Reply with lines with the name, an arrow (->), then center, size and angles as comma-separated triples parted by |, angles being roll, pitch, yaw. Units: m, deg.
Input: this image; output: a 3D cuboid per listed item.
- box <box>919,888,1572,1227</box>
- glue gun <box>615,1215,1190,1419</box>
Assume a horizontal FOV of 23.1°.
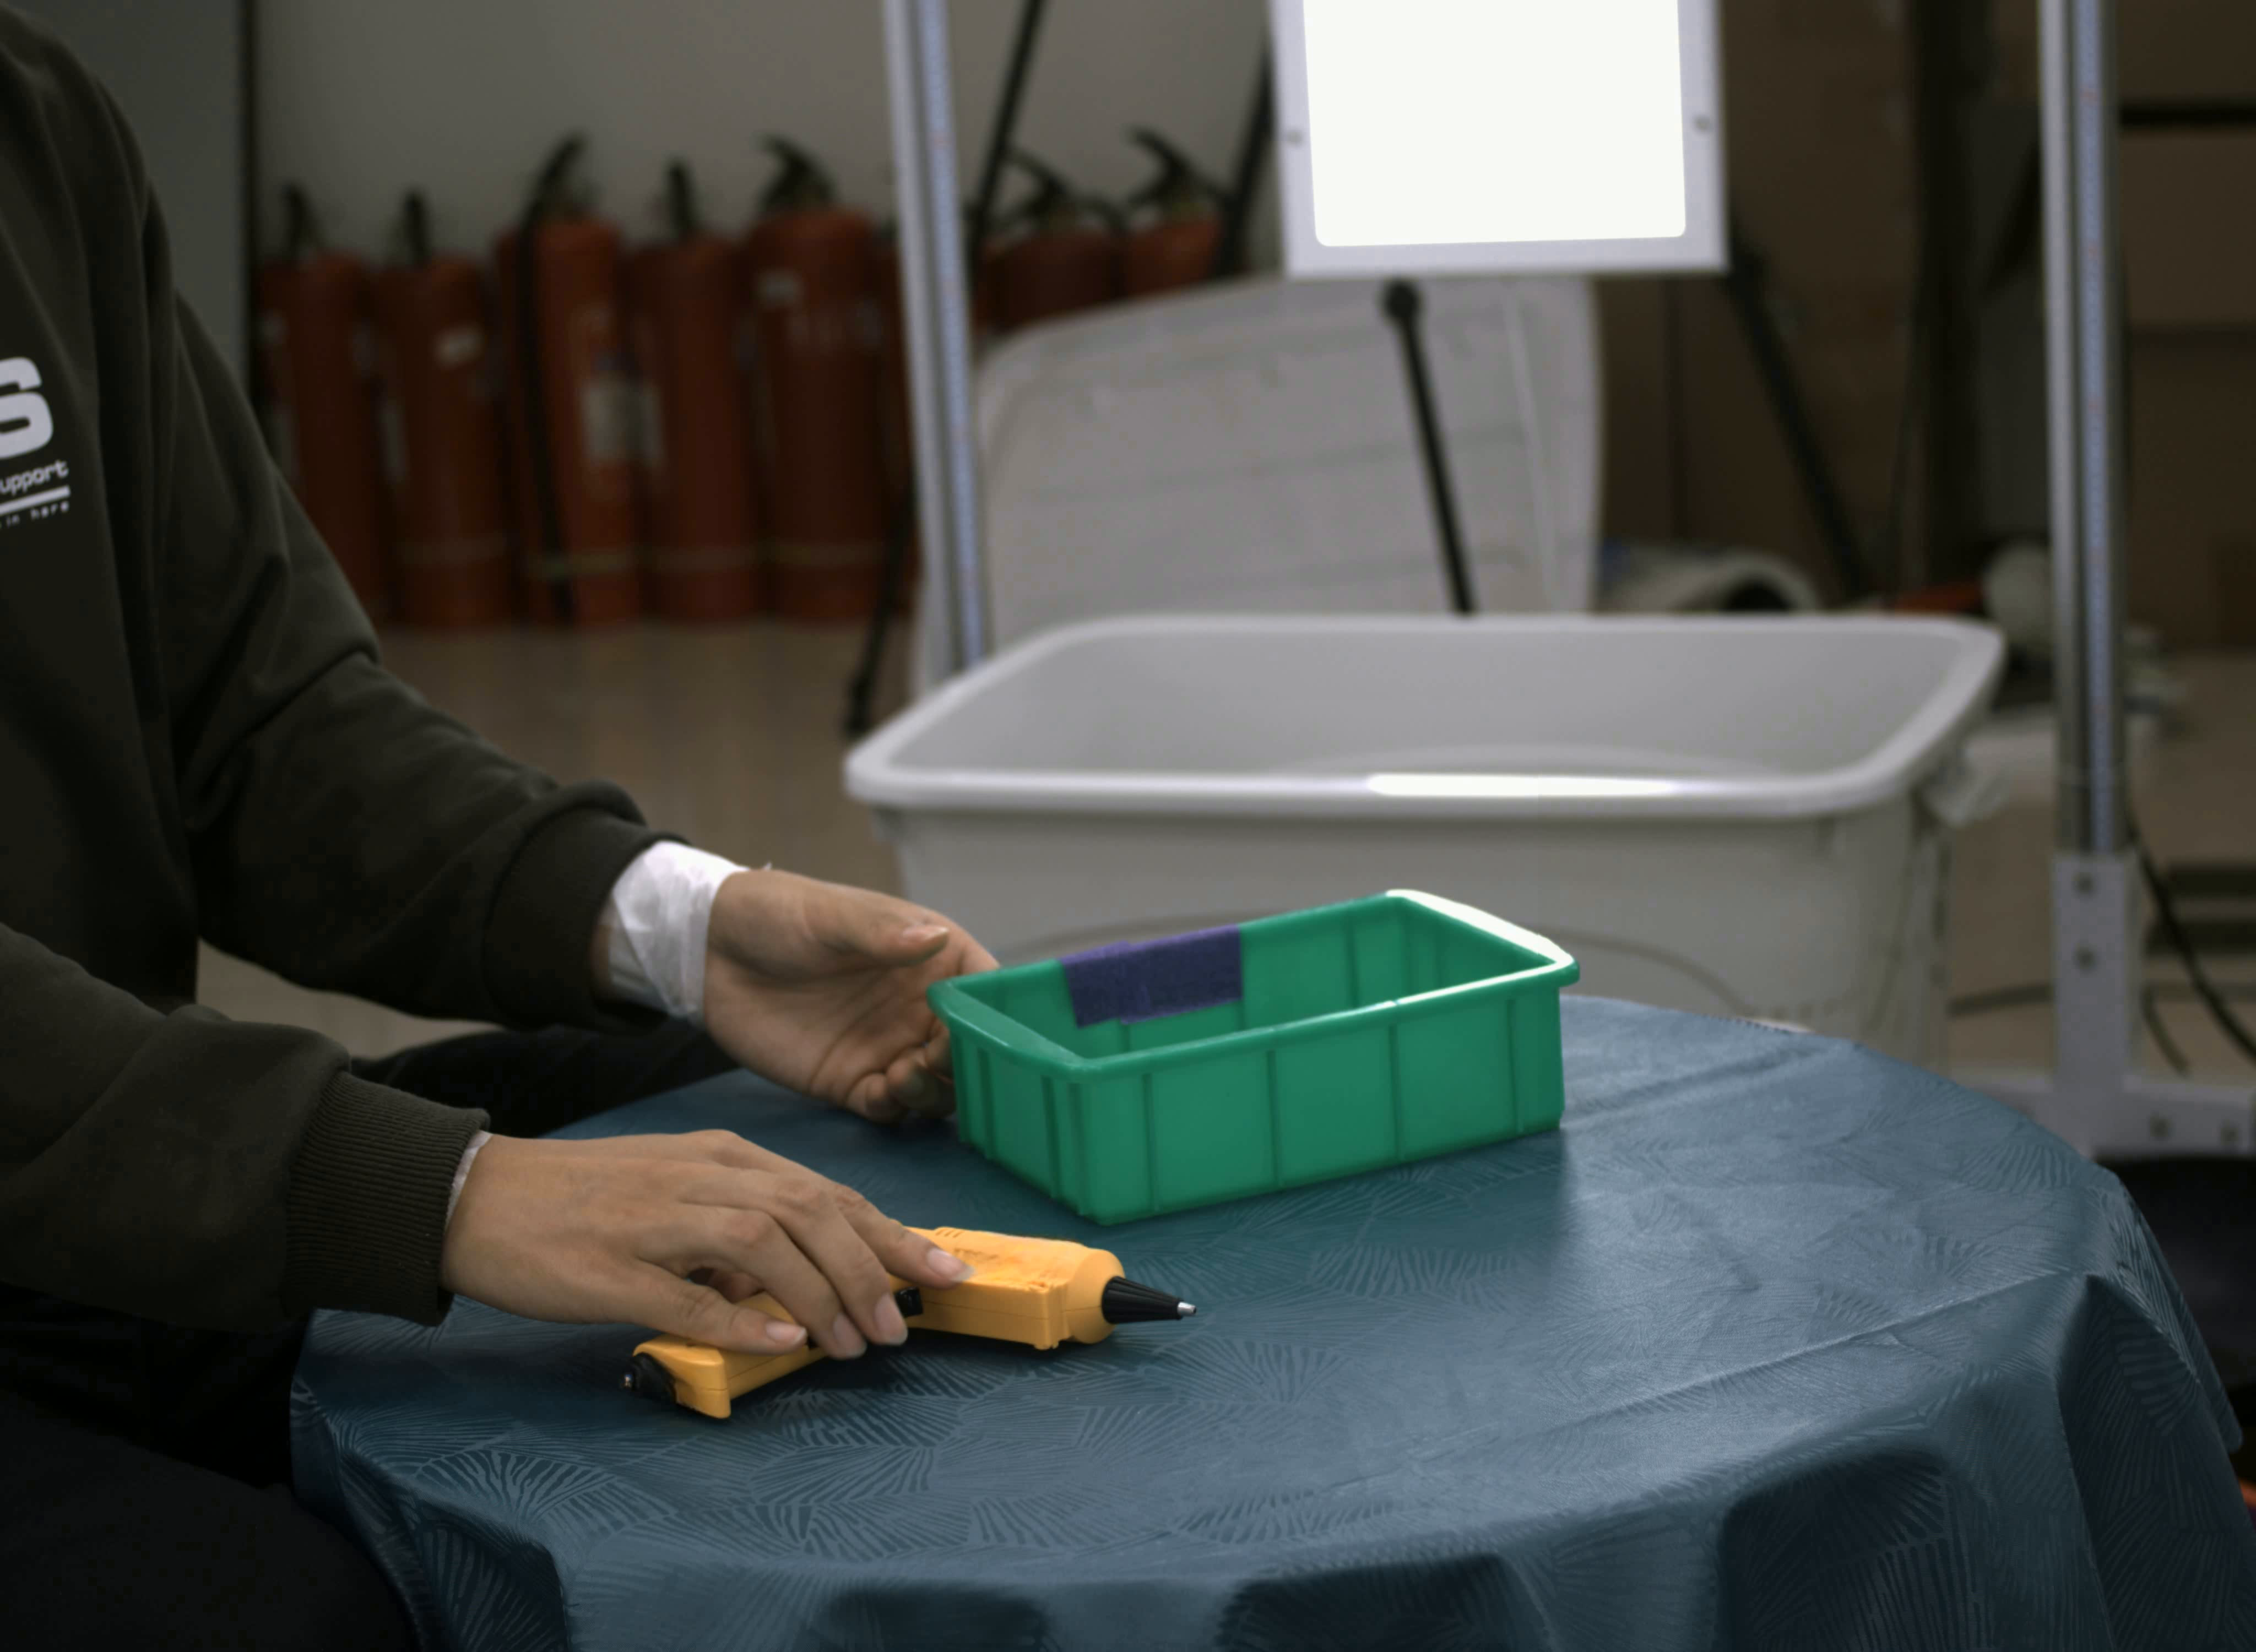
box -> 0.043, 0.081, 1.939 | 0.206, 0.065, 0.141 | -13, 14, -22
glue gun -> -0.064, 0.160, 1.735 | 0.154, 0.031, 0.130 | 4, 18, 31
